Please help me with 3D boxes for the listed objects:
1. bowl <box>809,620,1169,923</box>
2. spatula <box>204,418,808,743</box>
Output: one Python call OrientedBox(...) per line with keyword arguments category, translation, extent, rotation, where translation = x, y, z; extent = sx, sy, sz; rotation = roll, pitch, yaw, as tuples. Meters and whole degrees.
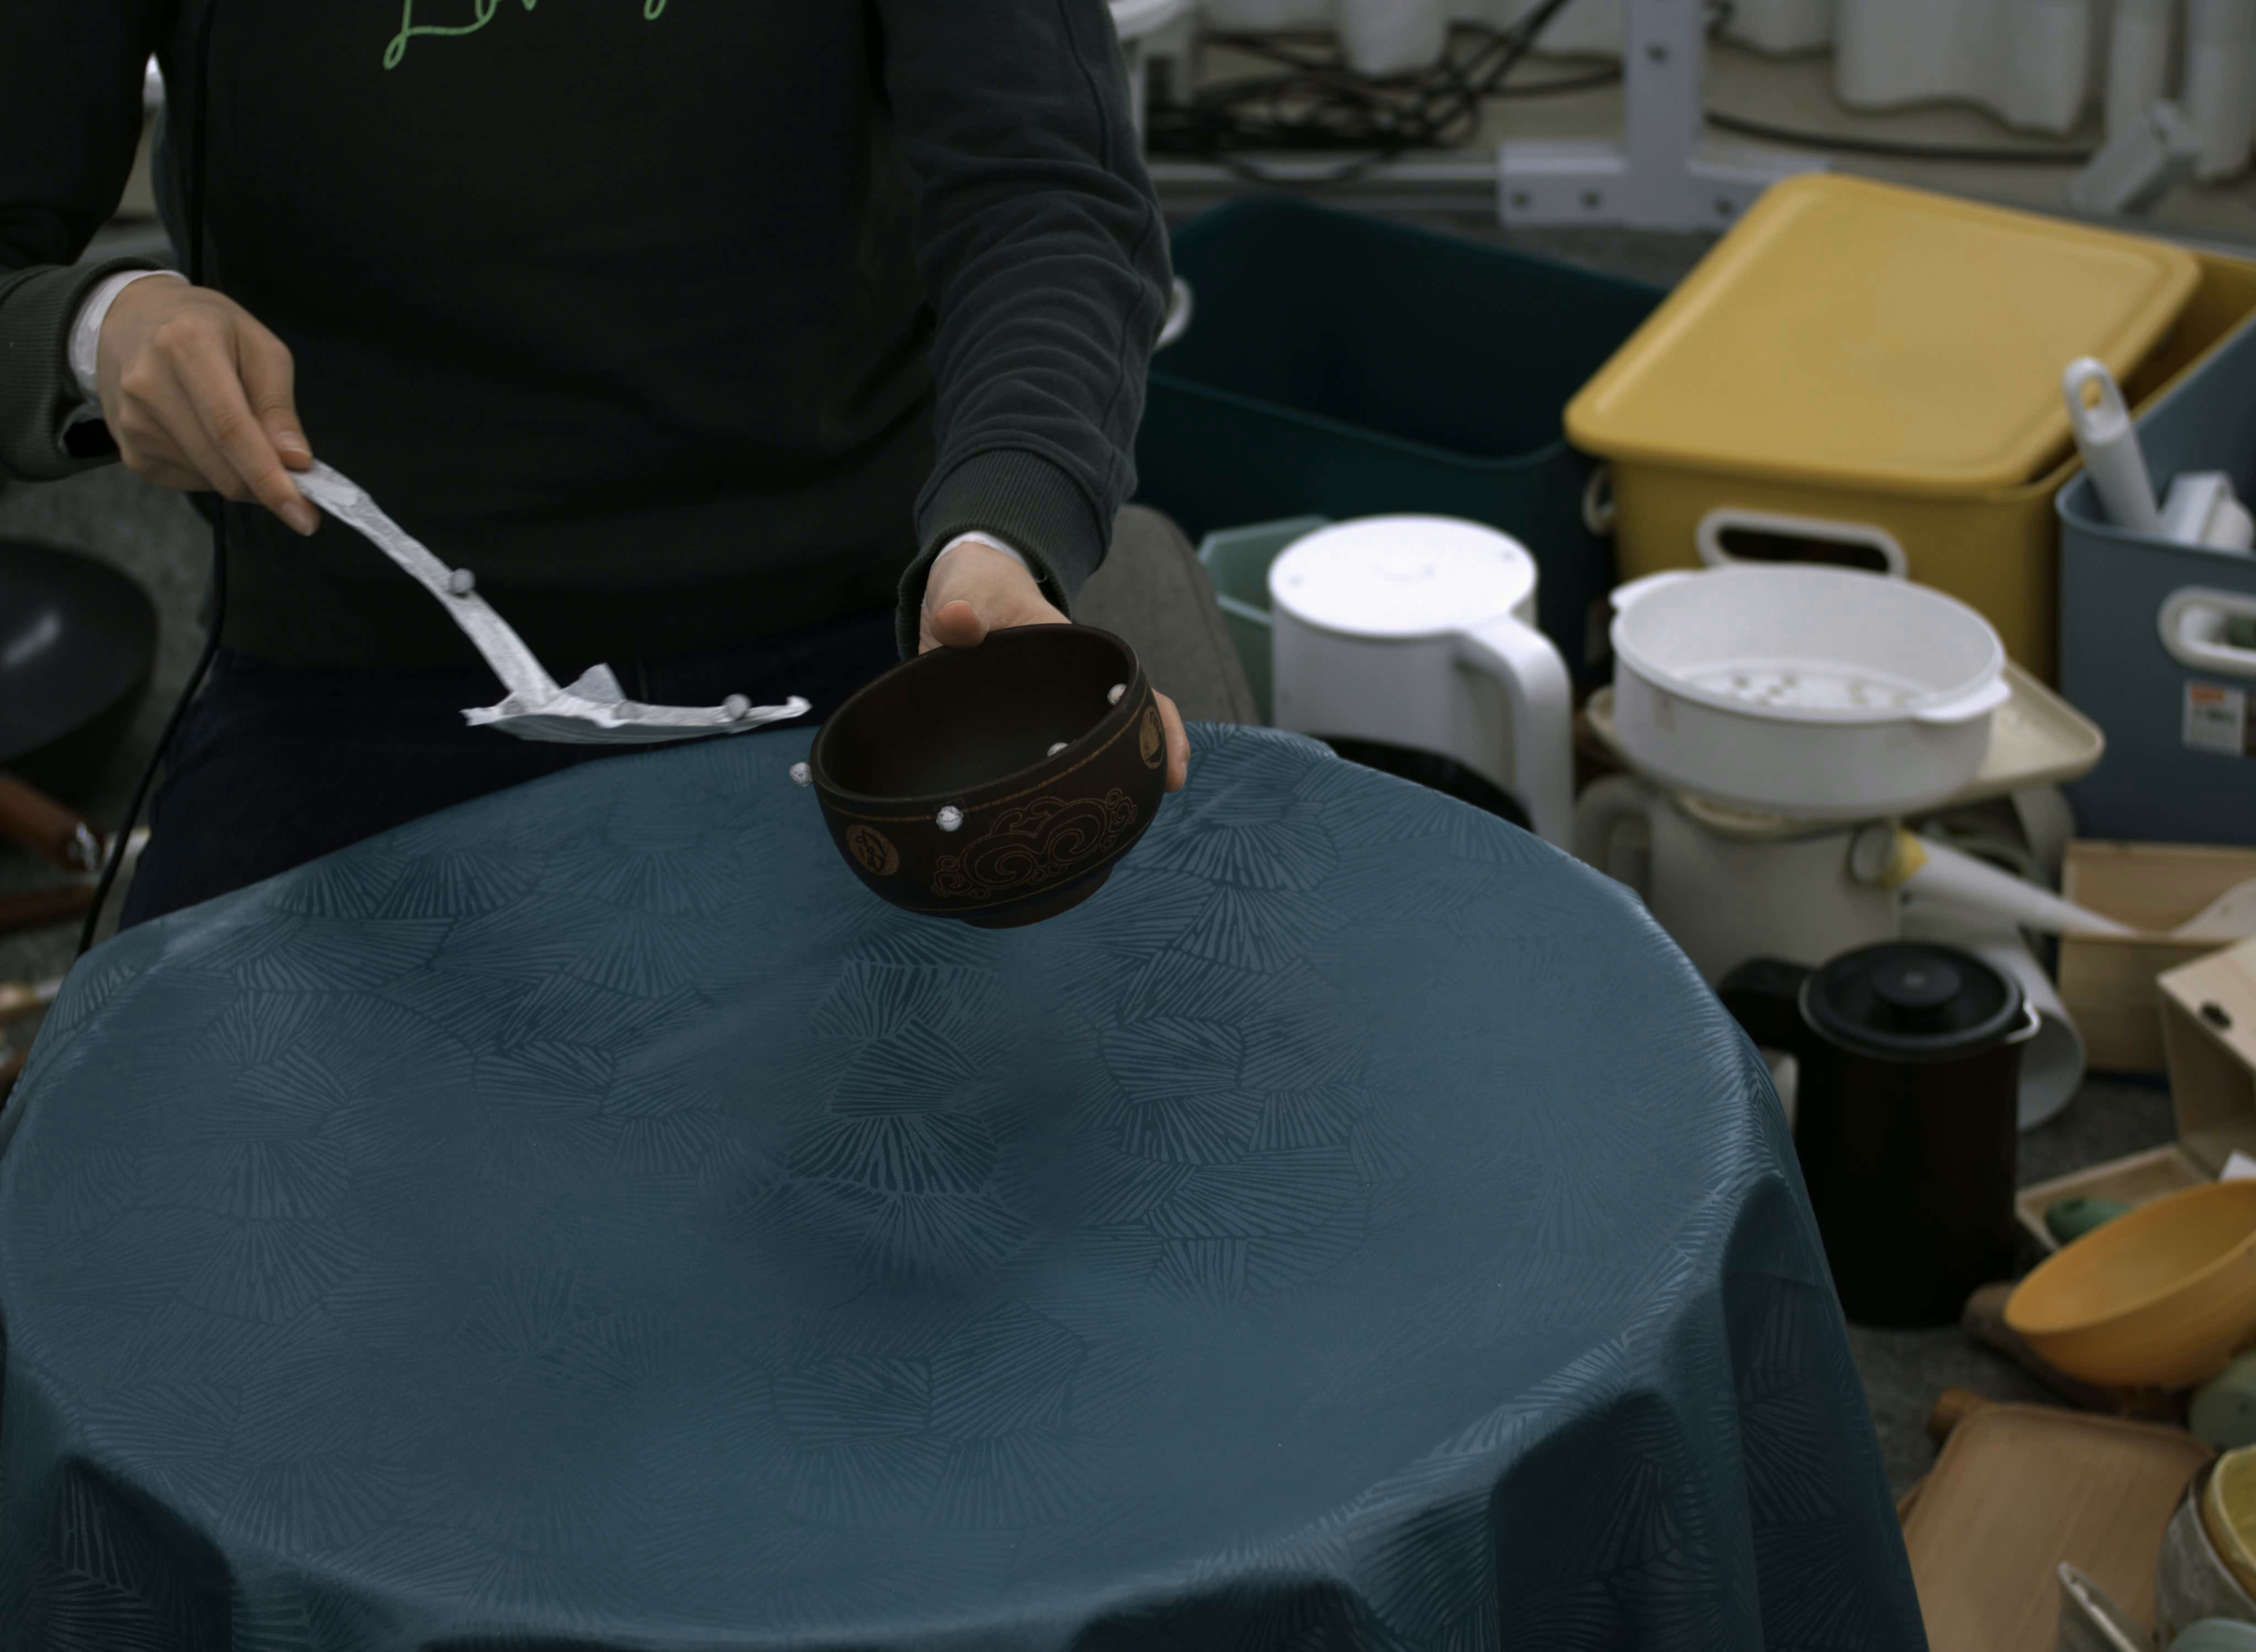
OrientedBox(category="bowl", translation=(-0.042, -0.011, 1.868), extent=(0.117, 0.069, 0.120), rotation=(-13, 25, 6))
OrientedBox(category="spatula", translation=(-0.232, -0.089, 1.887), extent=(0.099, 0.044, 0.366), rotation=(-4, 26, -34))
